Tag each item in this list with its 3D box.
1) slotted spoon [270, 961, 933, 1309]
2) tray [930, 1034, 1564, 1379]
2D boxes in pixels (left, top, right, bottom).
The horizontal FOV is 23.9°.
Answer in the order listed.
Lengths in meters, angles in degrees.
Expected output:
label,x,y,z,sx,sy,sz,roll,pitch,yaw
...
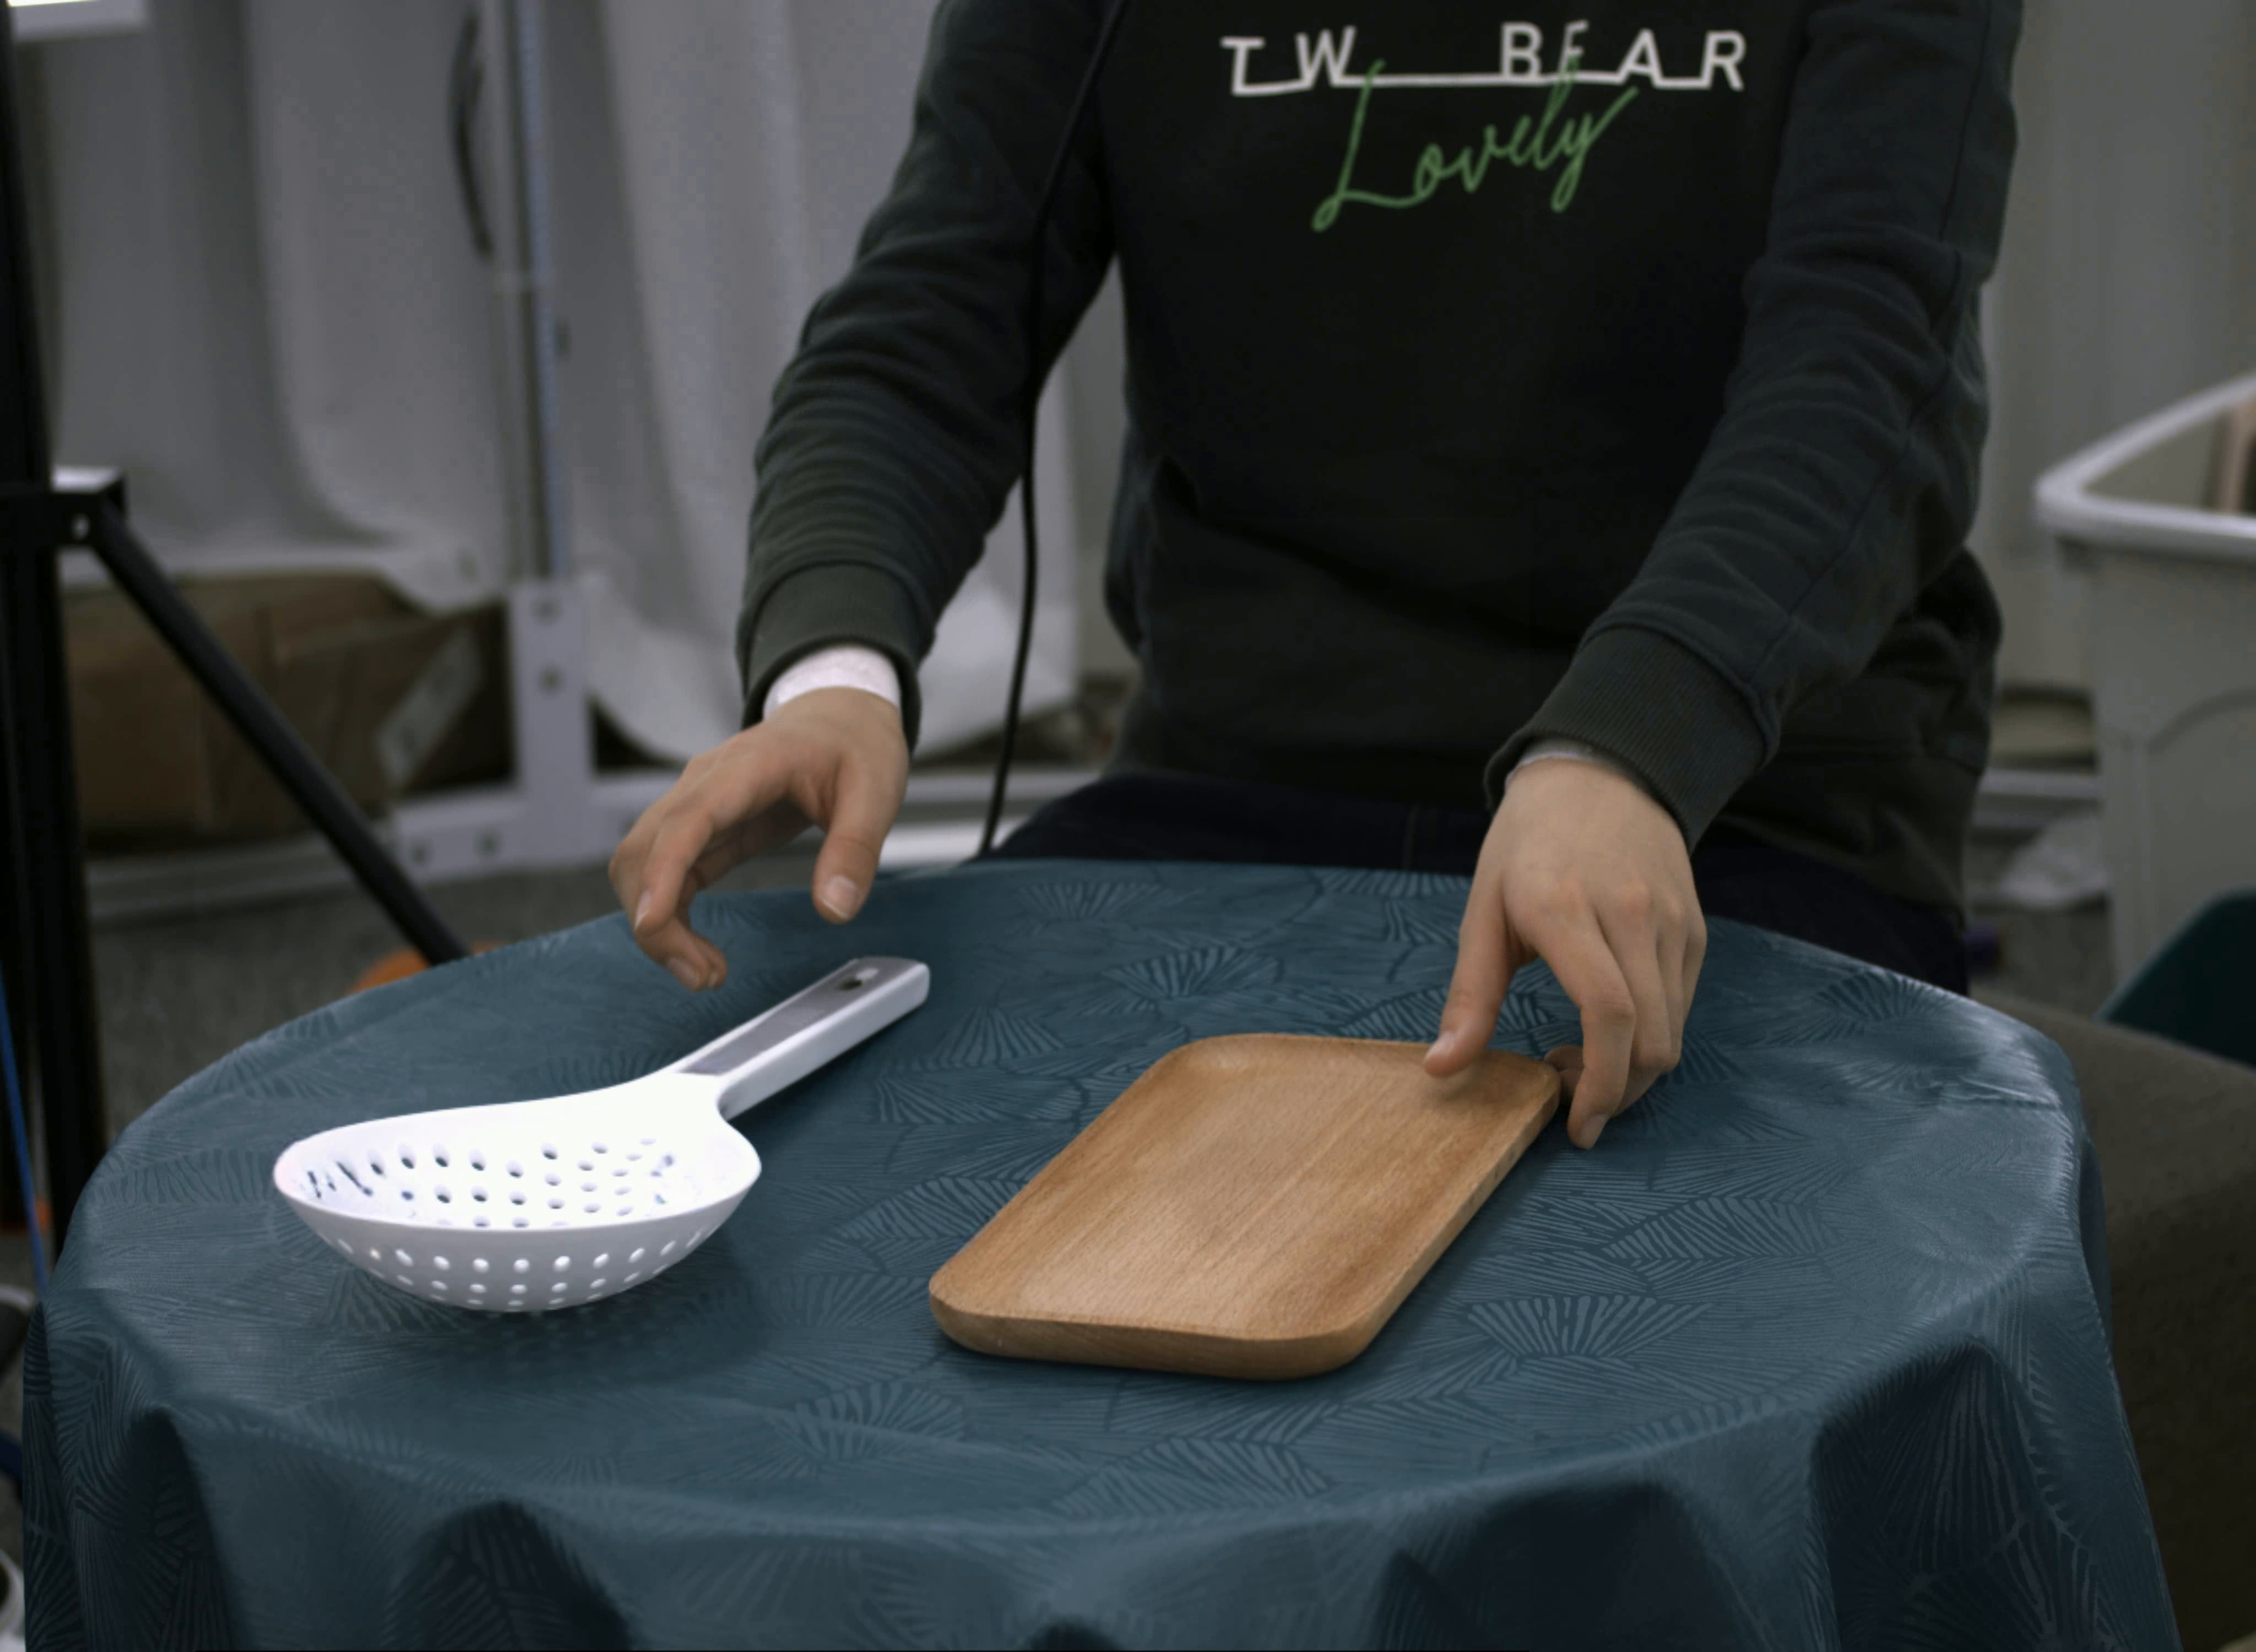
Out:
label,x,y,z,sx,sy,sz,roll,pitch,yaw
slotted spoon,-0.135,0.082,1.588,0.137,0.046,0.345,6,17,20
tray,0.039,0.106,1.527,0.132,0.023,0.247,5,17,19
